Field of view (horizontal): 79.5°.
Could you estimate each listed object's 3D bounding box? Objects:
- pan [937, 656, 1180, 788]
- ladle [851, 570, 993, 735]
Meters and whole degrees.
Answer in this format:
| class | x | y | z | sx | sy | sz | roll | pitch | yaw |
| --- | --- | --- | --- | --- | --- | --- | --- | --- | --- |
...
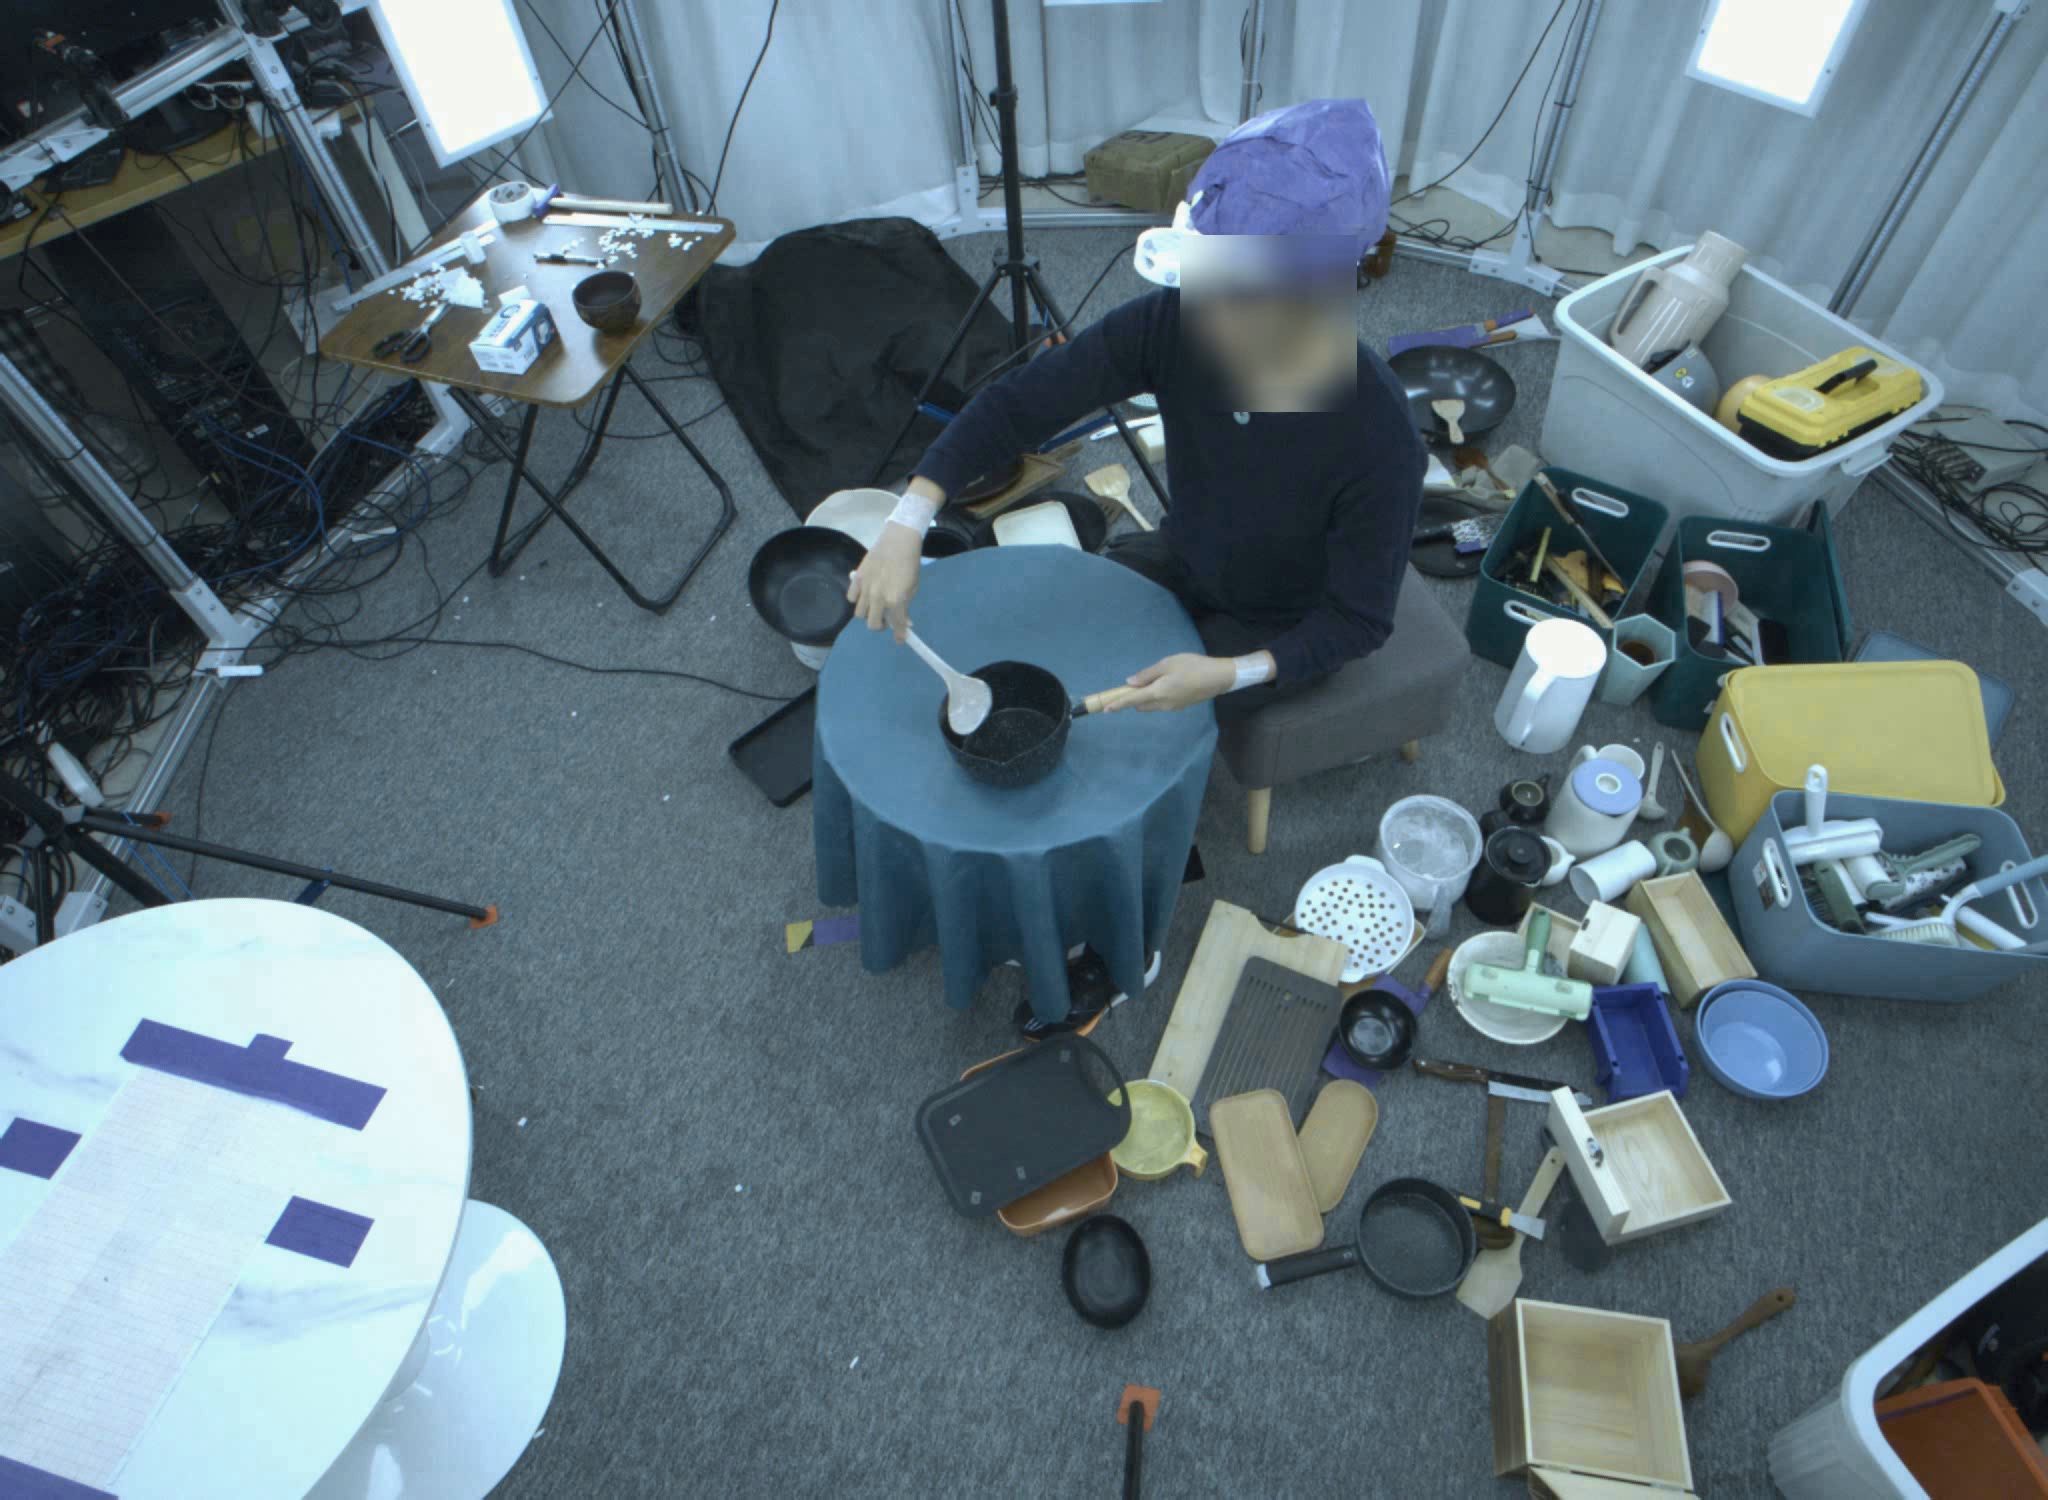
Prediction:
| class | x | y | z | sx | sy | sz | roll | pitch | yaw |
| --- | --- | --- | --- | --- | --- | --- | --- | --- | --- |
| pan | 0.052 | -0.049 | 1.736 | 0.342 | 0.110 | 0.205 | -9 | 49 | 4 |
| ladle | -0.153 | -0.136 | 1.704 | 0.278 | 0.088 | 0.069 | 44 | 43 | -15 |
